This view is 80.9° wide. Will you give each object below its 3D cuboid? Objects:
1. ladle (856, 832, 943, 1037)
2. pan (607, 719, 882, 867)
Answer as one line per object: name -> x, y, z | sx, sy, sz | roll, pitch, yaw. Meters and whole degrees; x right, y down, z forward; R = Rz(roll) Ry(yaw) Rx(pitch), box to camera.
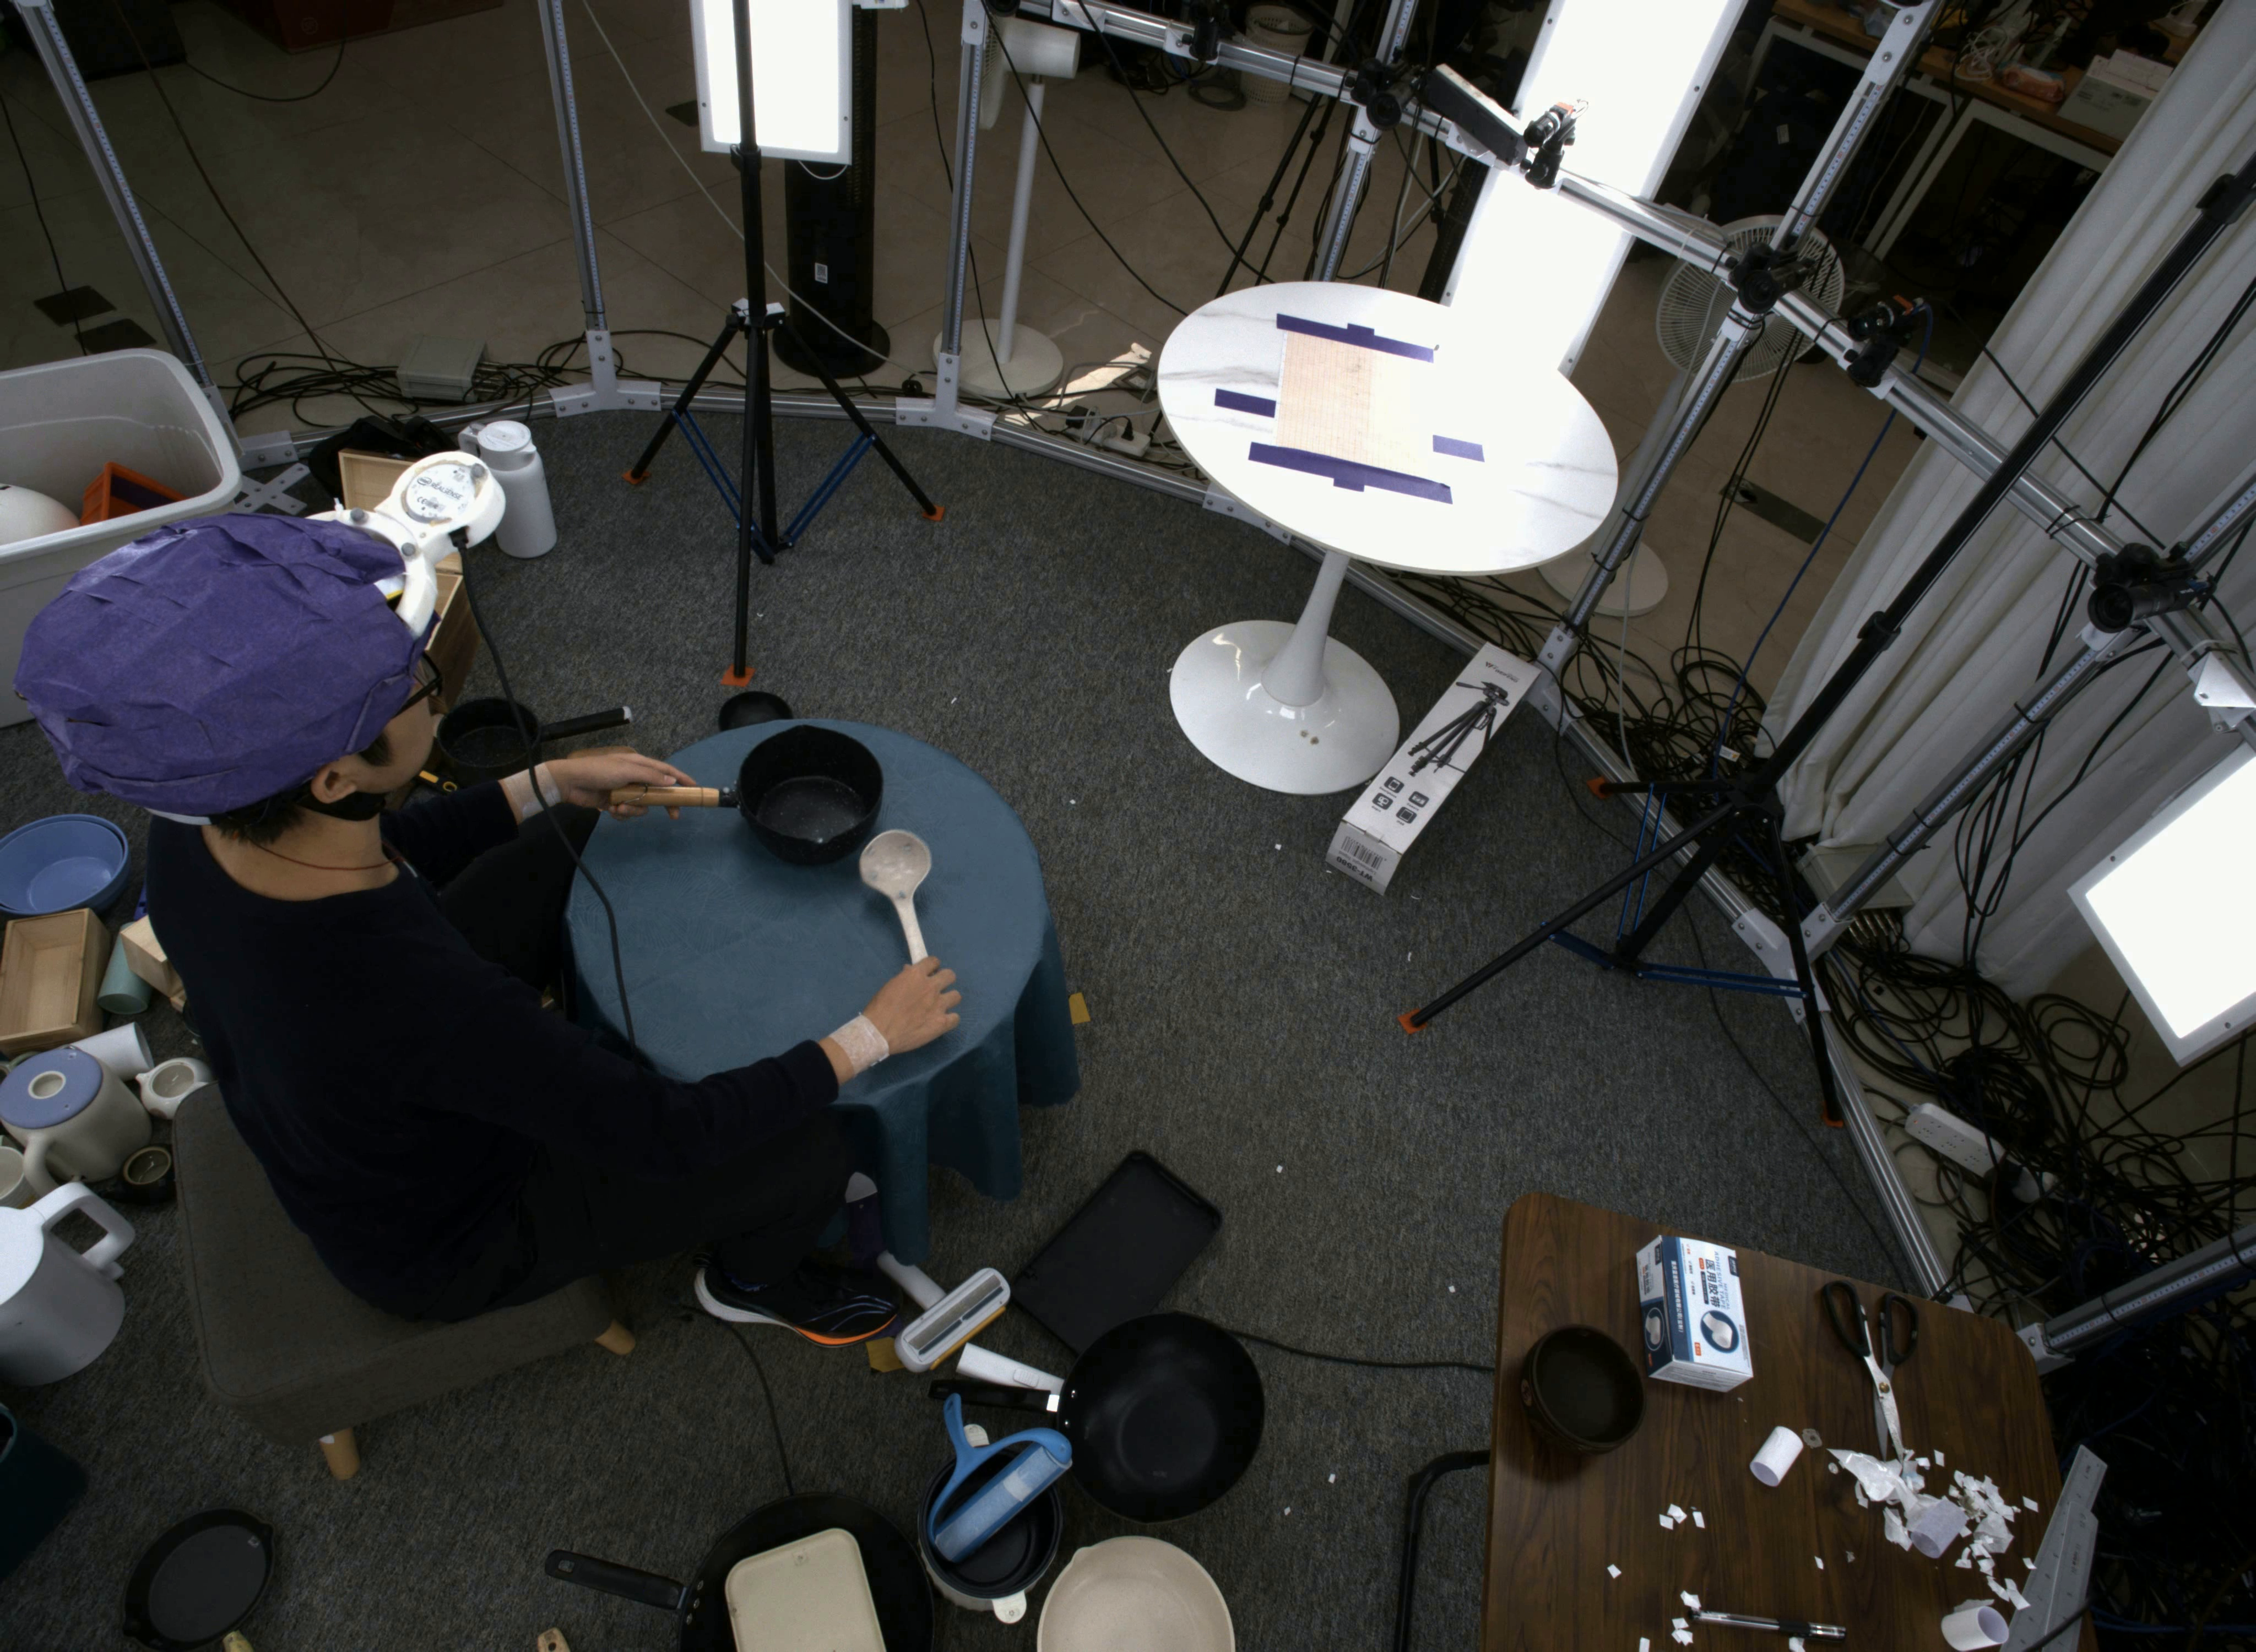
ladle -> -0.264, 0.124, 1.580 | 0.090, 0.071, 0.267 | -8, 49, -20
pan -> -0.487, -0.031, 1.650 | 0.345, 0.110, 0.202 | -7, 57, -21
